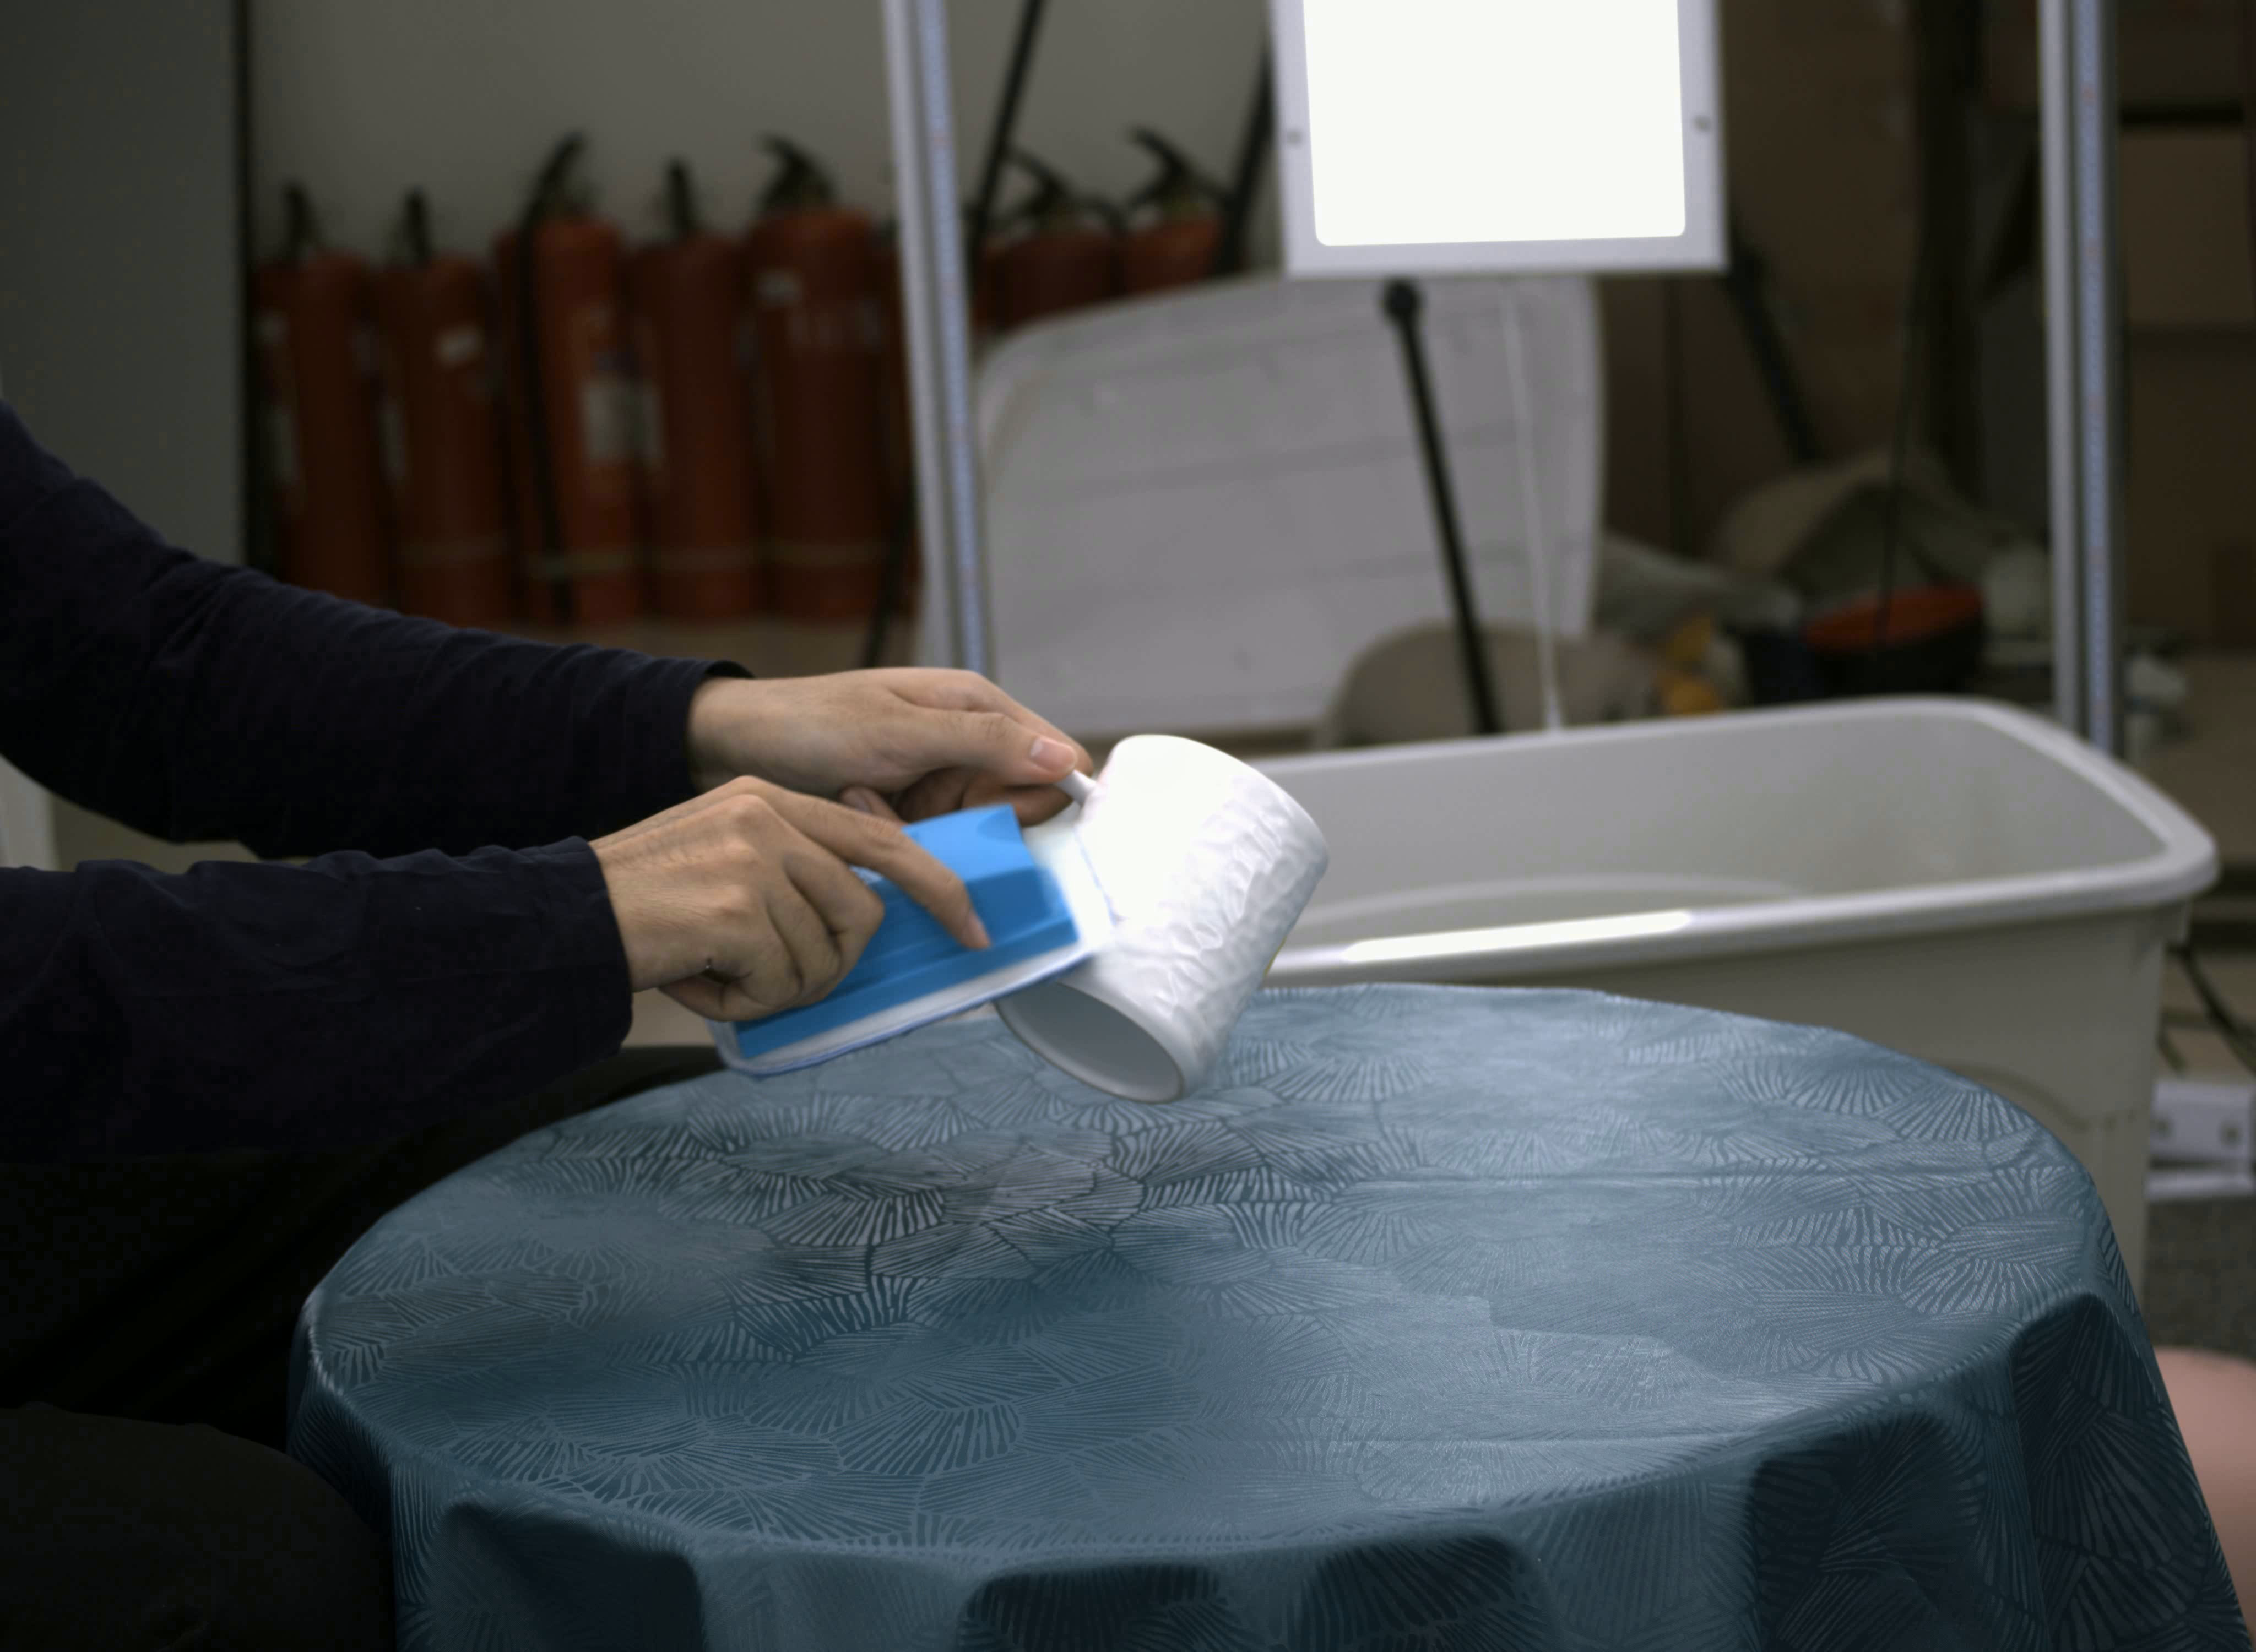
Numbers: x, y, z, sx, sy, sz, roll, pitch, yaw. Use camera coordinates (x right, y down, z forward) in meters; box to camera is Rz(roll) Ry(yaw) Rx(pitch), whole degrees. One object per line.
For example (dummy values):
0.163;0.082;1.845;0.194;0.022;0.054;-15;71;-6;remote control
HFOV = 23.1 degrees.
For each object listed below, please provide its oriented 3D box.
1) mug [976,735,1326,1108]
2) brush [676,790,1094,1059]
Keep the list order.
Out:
-0.005;0.026;1.905;0.118;0.101;0.086;29;-23;3;mug
-0.086;0.027;1.852;0.143;0.056;0.084;-17;30;0;brush
